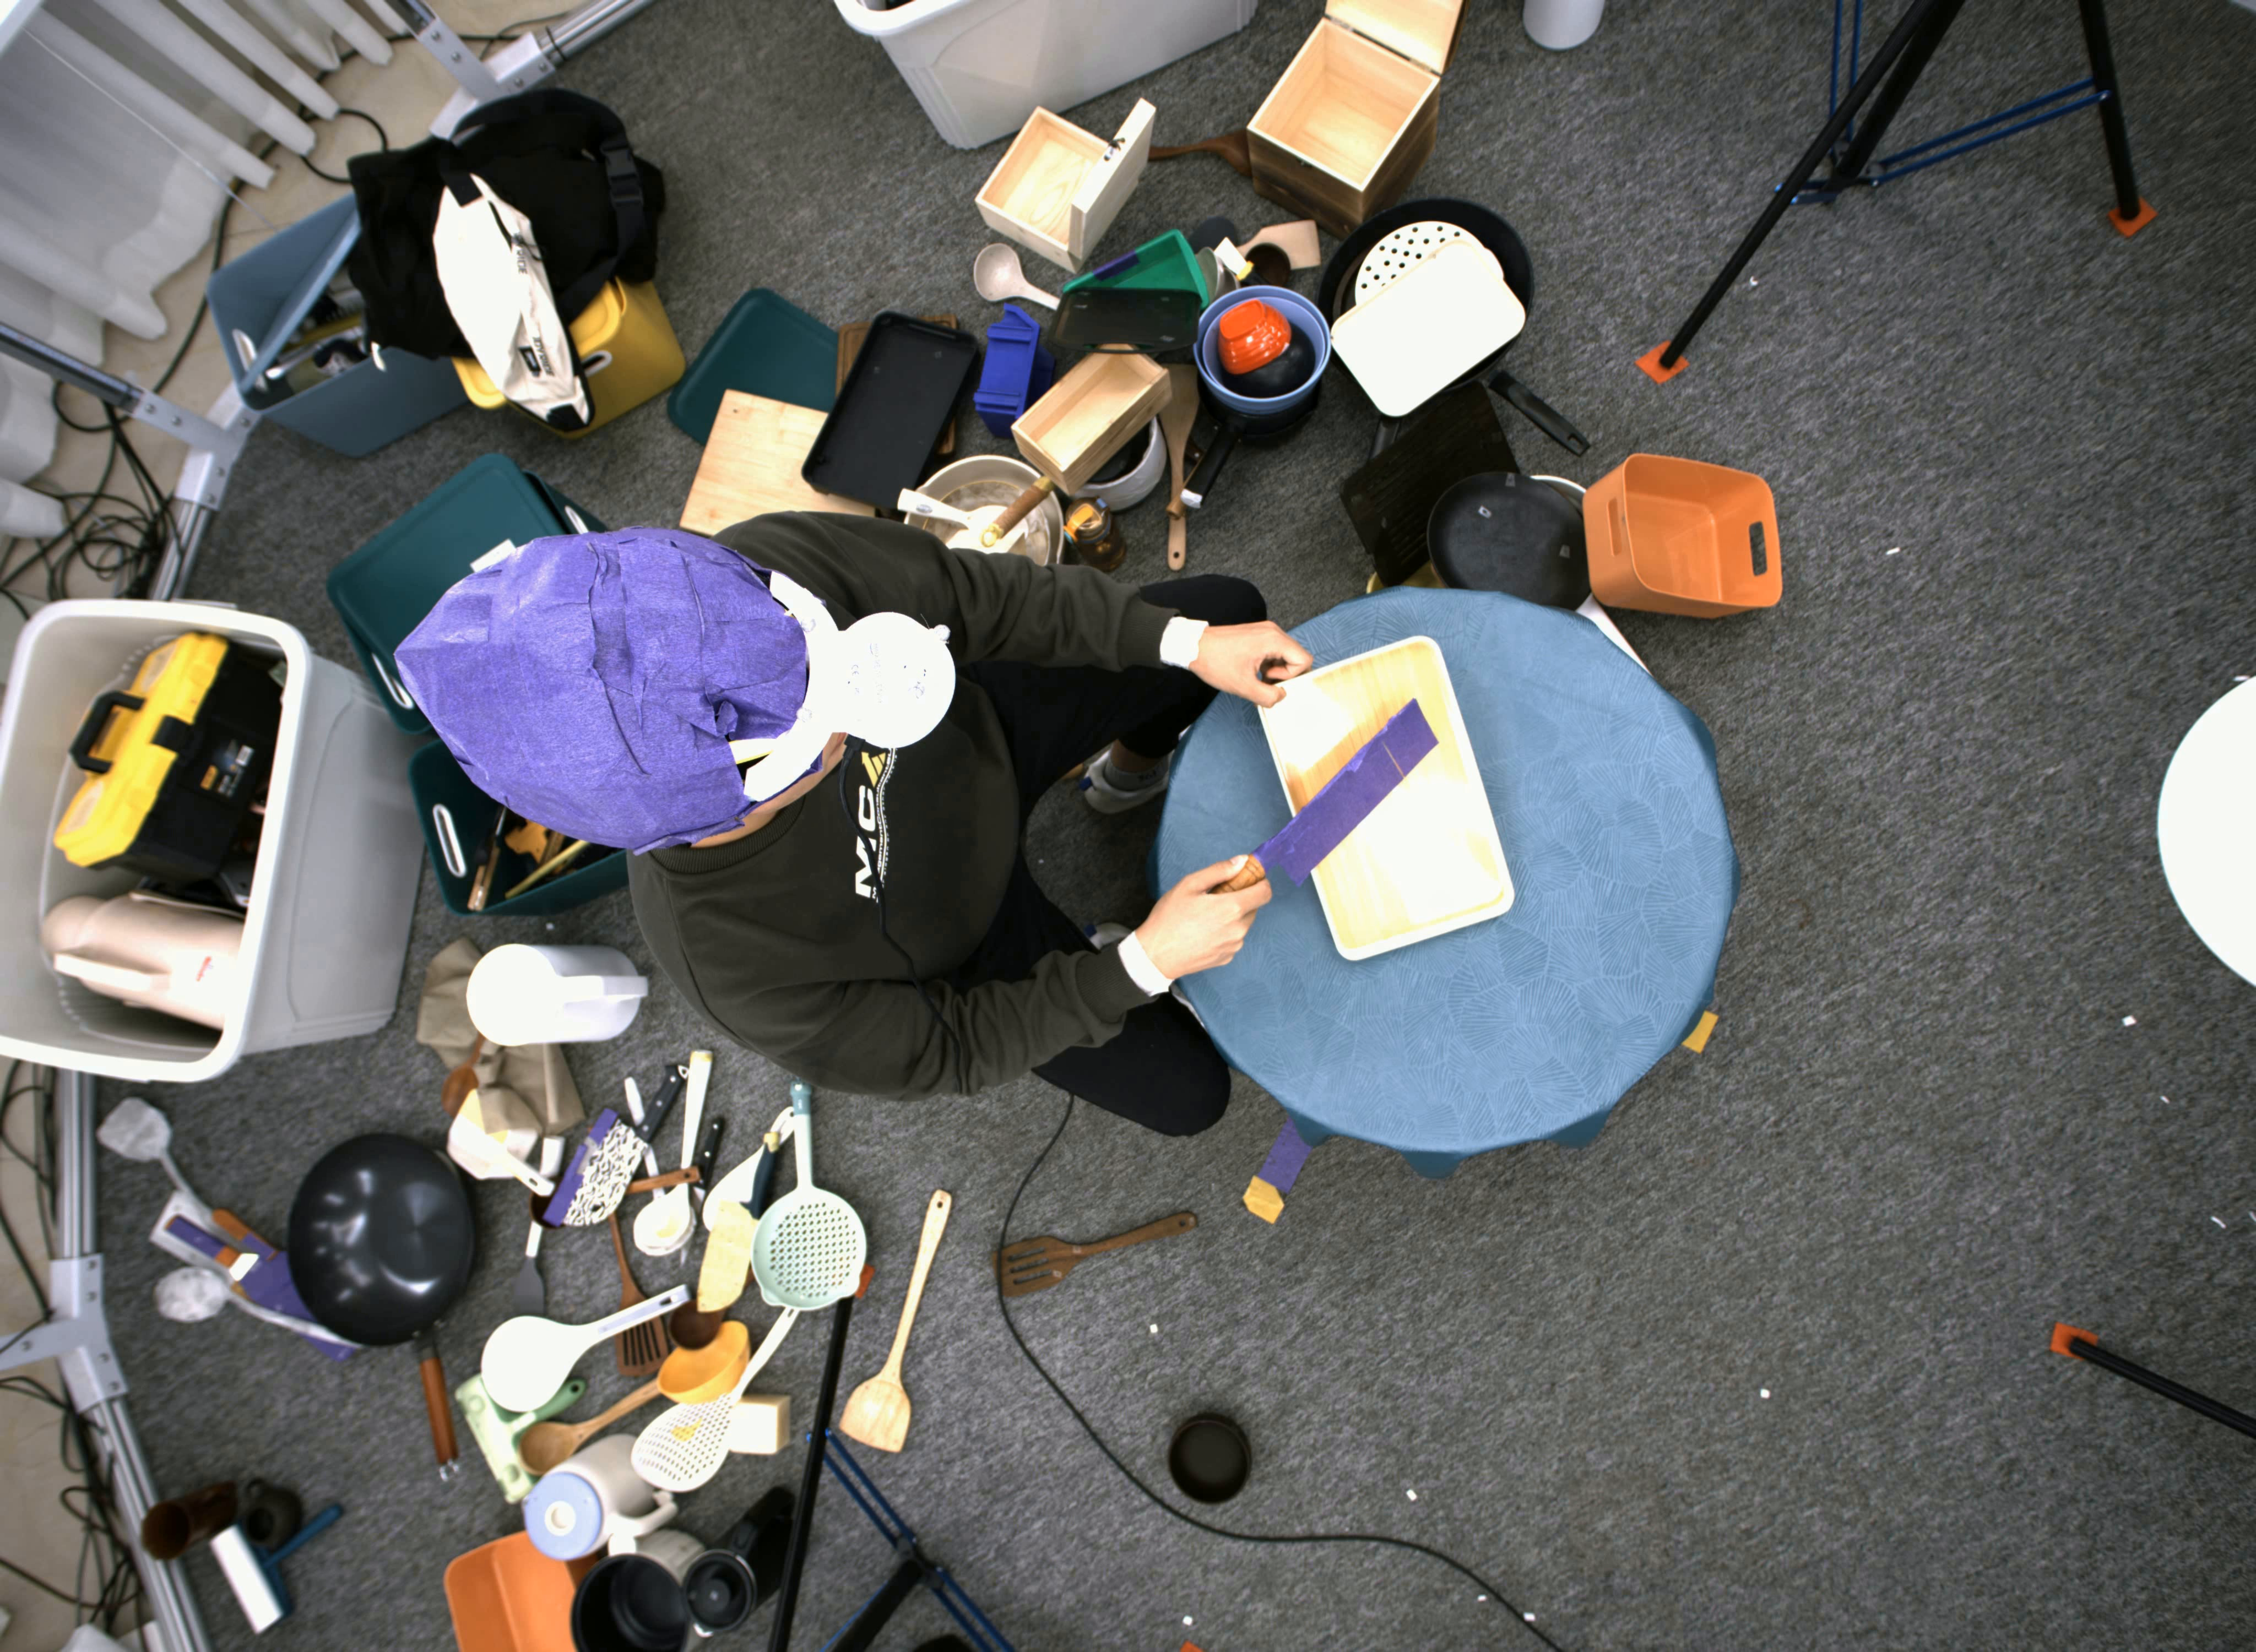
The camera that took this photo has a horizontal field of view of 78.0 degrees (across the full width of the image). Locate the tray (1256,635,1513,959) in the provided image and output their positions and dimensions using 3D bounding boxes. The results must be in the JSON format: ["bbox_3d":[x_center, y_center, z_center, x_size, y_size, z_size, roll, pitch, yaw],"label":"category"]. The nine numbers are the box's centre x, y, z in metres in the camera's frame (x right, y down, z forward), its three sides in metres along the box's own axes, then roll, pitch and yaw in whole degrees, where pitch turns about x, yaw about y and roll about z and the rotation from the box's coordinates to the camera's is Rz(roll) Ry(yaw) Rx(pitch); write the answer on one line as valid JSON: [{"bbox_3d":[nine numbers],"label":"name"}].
[{"bbox_3d":[0.262,-0.028,1.406,0.192,0.027,0.302,-18,102,8],"label":"tray"}]

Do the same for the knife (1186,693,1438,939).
[{"bbox_3d":[0.190,0.004,1.358,0.316,0.105,0.032,-44,50,2],"label":"knife"}]
